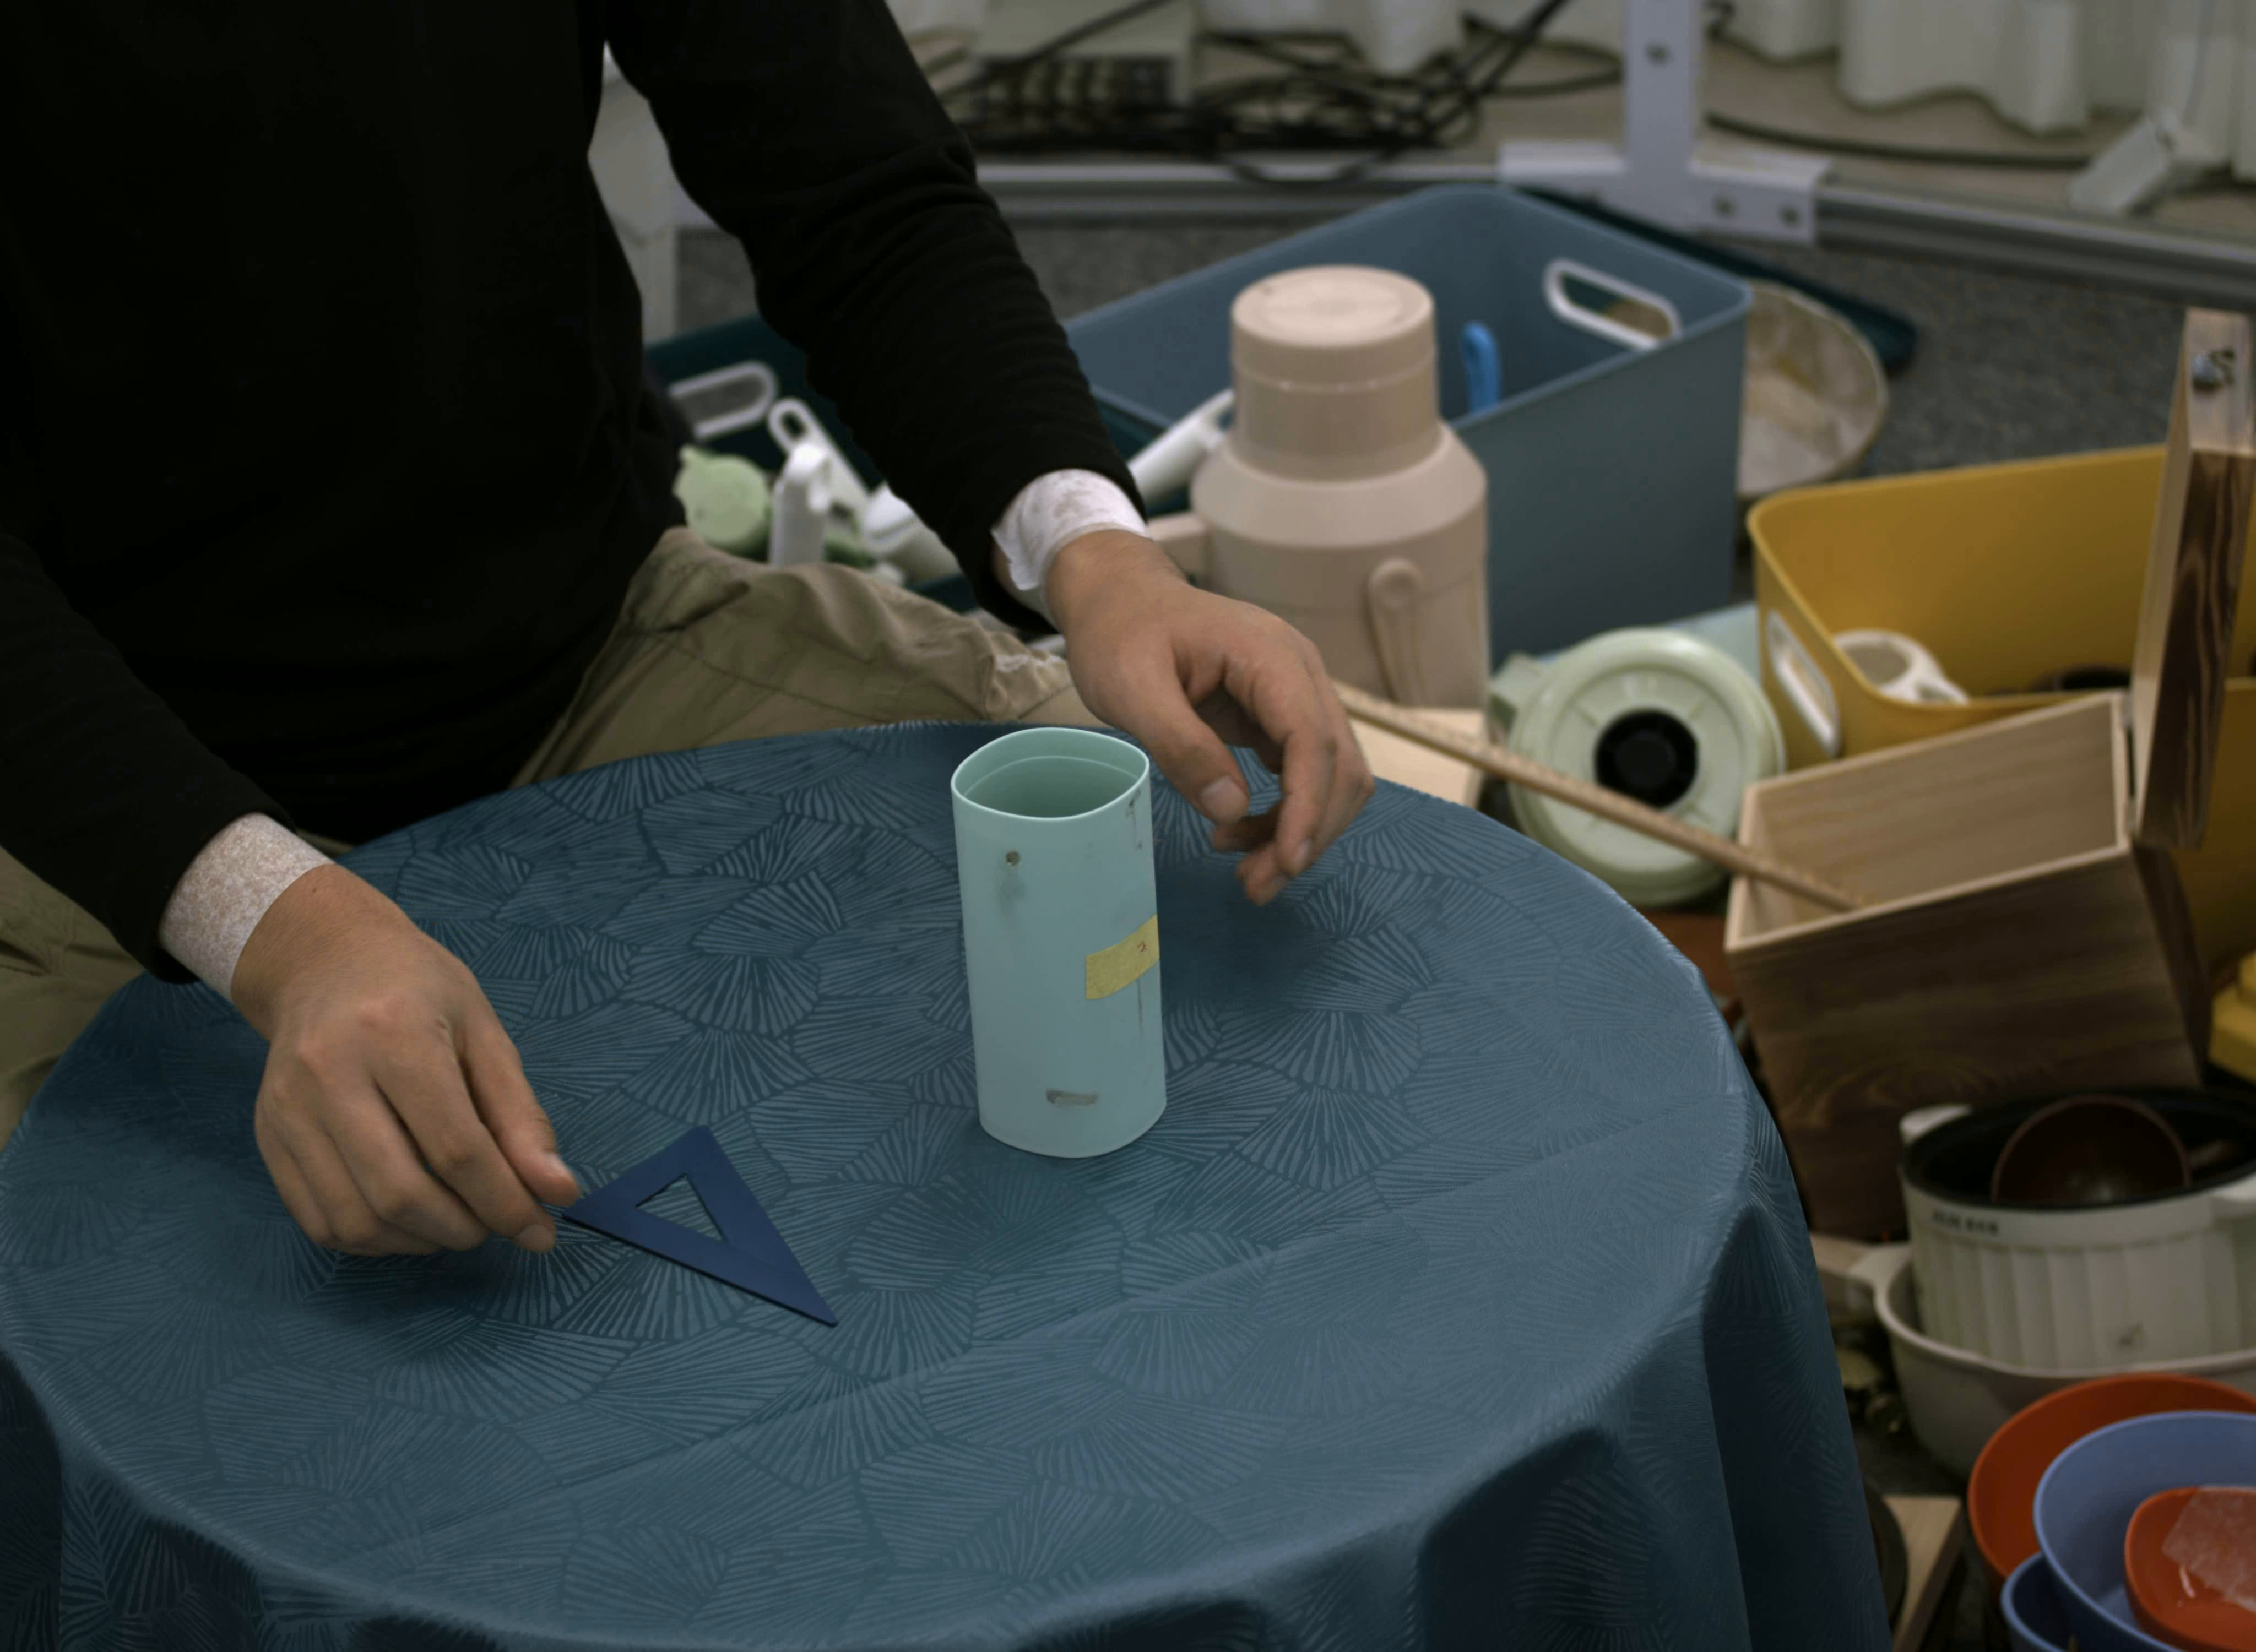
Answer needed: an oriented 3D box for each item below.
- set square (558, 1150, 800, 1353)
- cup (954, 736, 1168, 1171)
[{"bbox_3d":[-0.149,0.141,1.832,0.061,0.006,0.133,-9,28,-15],"label":"set square"},{"bbox_3d":[-0.023,0.042,1.884,0.066,0.131,0.068,-2,27,2],"label":"cup"}]
